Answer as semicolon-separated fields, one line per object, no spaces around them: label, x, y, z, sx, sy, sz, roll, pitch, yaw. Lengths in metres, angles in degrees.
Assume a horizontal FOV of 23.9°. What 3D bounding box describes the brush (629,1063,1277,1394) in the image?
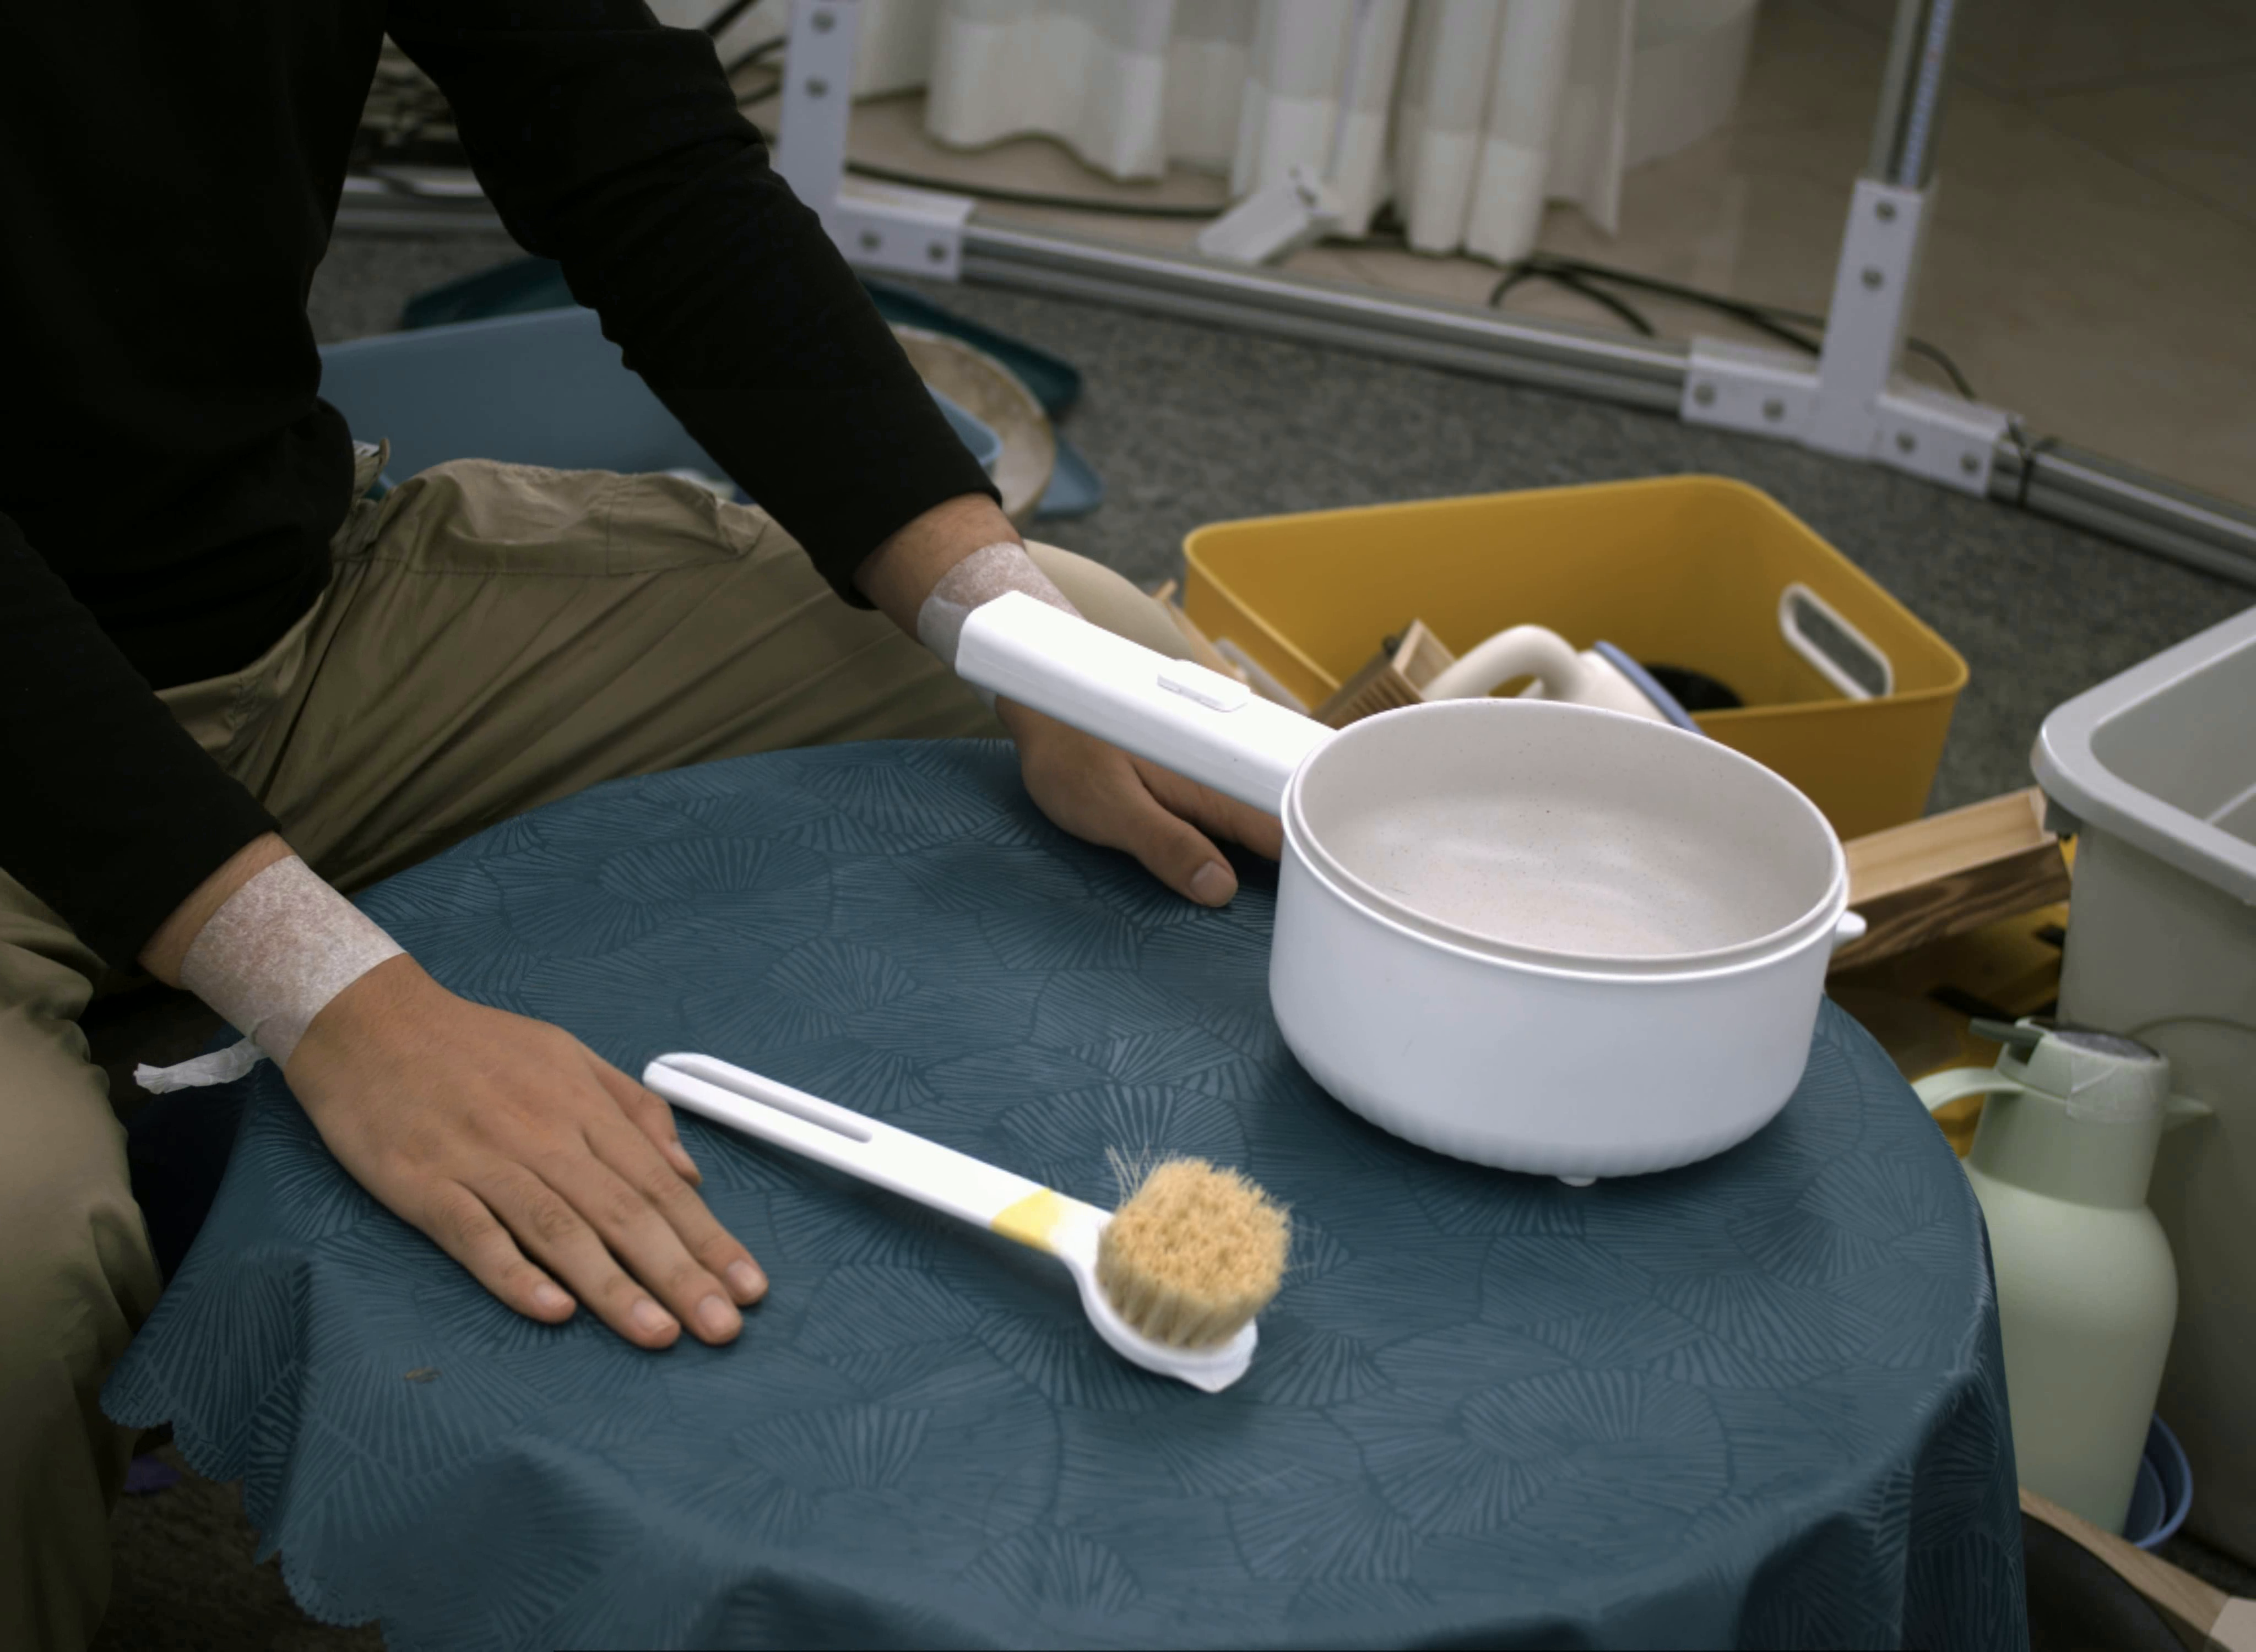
brush;-0.064;0.110;1.755;0.268;0.056;0.068;24;28;33

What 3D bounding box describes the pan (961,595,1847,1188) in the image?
pan;0.086;0.018;1.921;0.357;0.102;0.200;22;32;30
